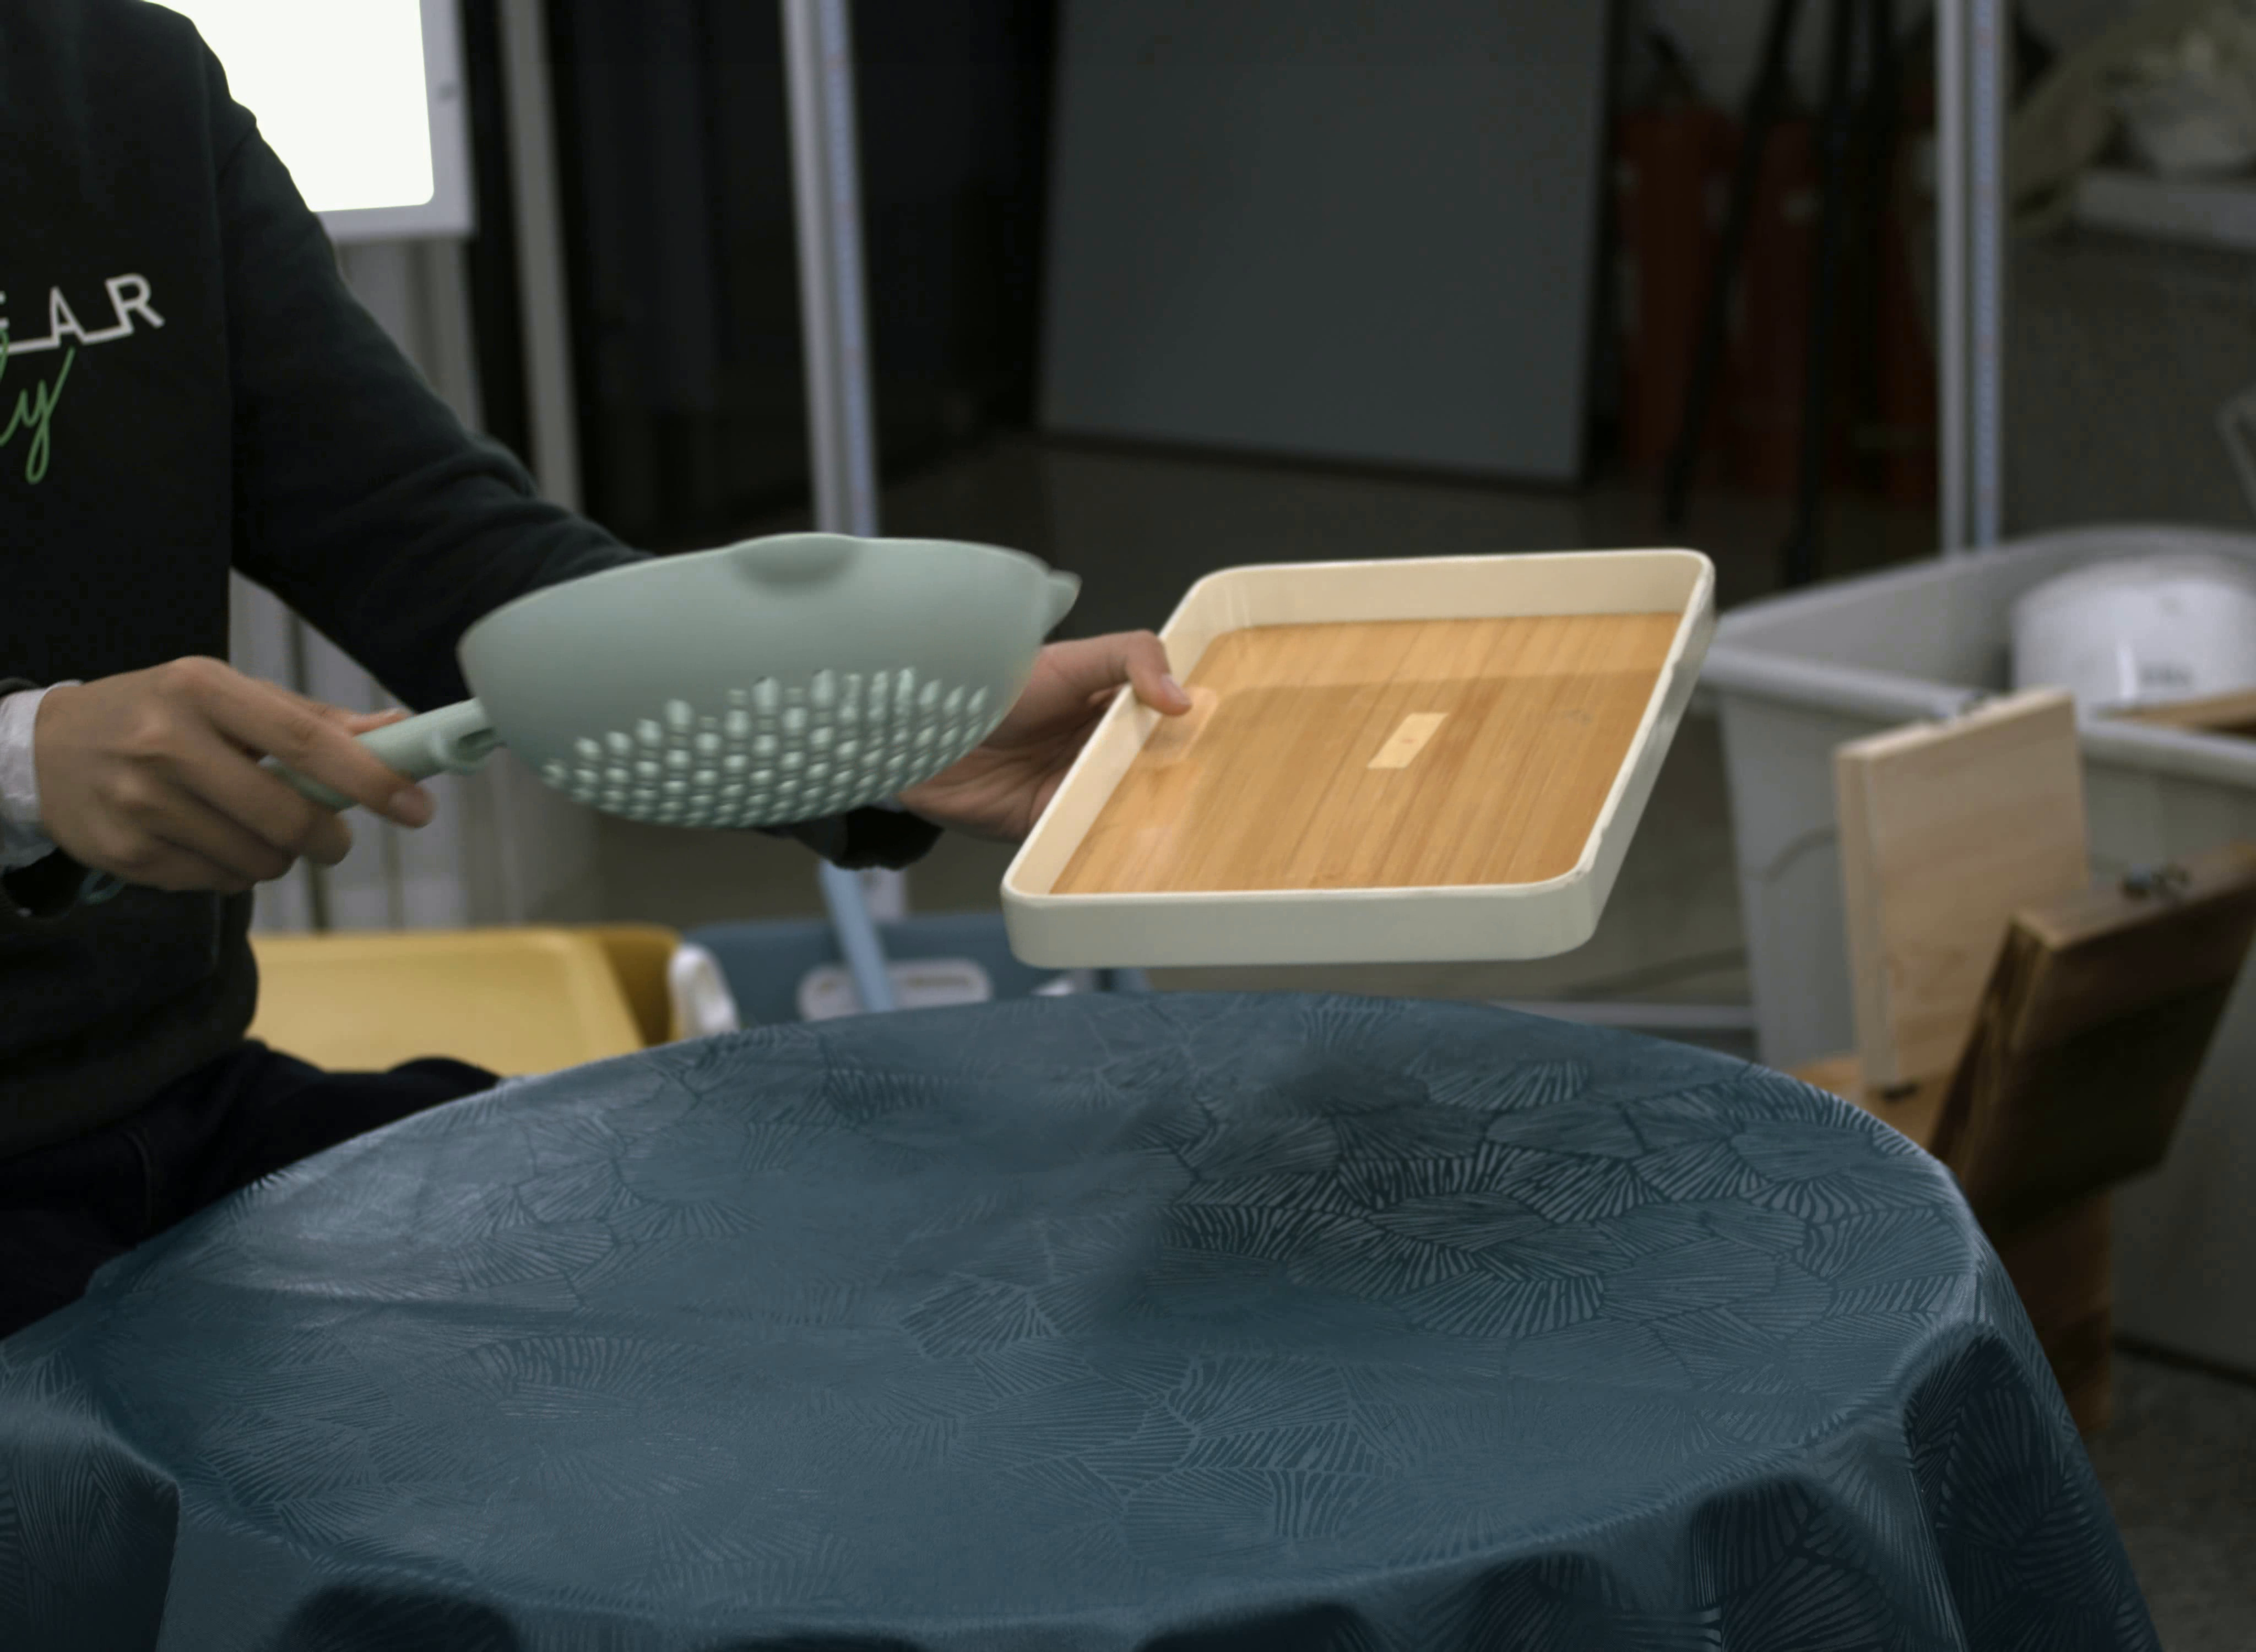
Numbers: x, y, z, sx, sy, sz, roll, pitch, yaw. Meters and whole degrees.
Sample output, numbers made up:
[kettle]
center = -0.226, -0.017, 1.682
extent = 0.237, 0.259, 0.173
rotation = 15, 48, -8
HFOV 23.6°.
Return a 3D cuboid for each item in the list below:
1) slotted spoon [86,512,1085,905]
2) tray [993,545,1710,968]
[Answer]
[slotted spoon]
center = -0.177, -0.030, 1.581
extent = 0.361, 0.076, 0.166
rotation = -7, -7, 36
[tray]
center = 0.081, -0.026, 1.782
extent = 0.191, 0.027, 0.299
rotation = -2, 22, 17
